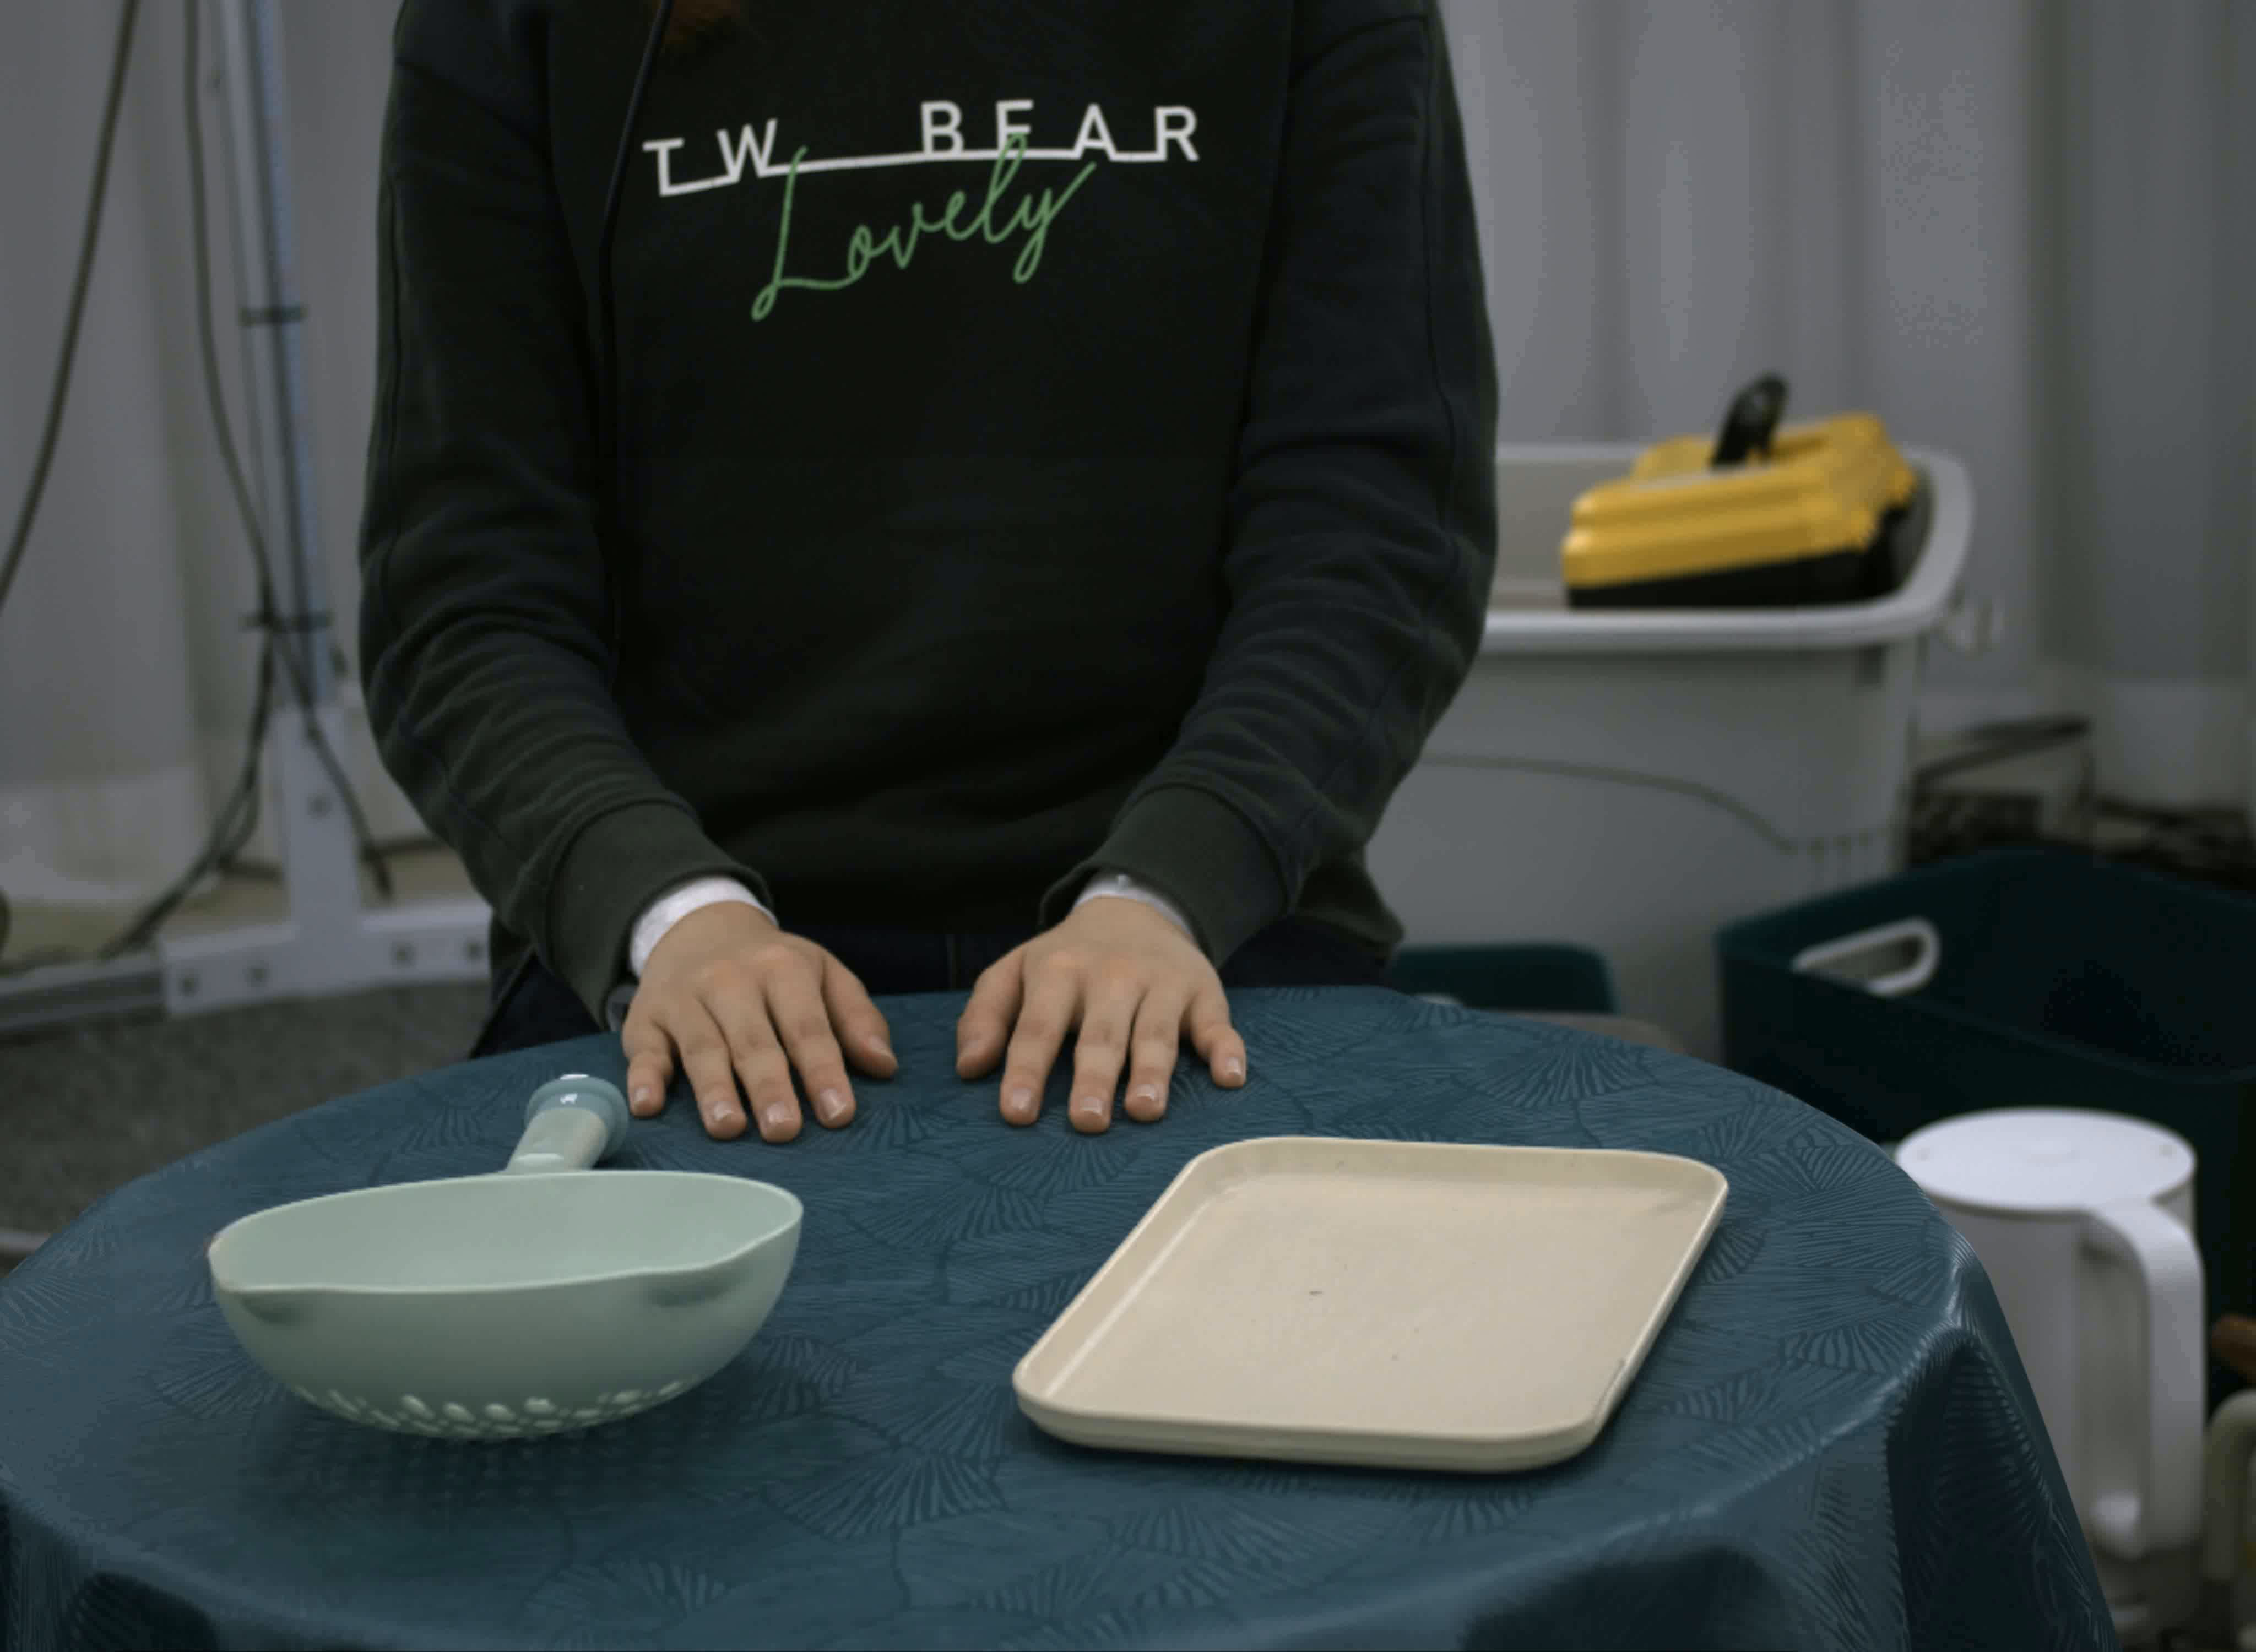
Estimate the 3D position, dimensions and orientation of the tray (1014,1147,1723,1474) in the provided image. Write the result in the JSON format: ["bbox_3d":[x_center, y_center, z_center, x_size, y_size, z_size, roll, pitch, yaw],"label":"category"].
[{"bbox_3d":[0.074,0.139,1.580,0.171,0.017,0.240,2,15,16],"label":"tray"}]

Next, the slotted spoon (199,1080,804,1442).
[{"bbox_3d":[-0.175,0.113,1.630,0.169,0.075,0.361,-2,14,0],"label":"slotted spoon"}]
